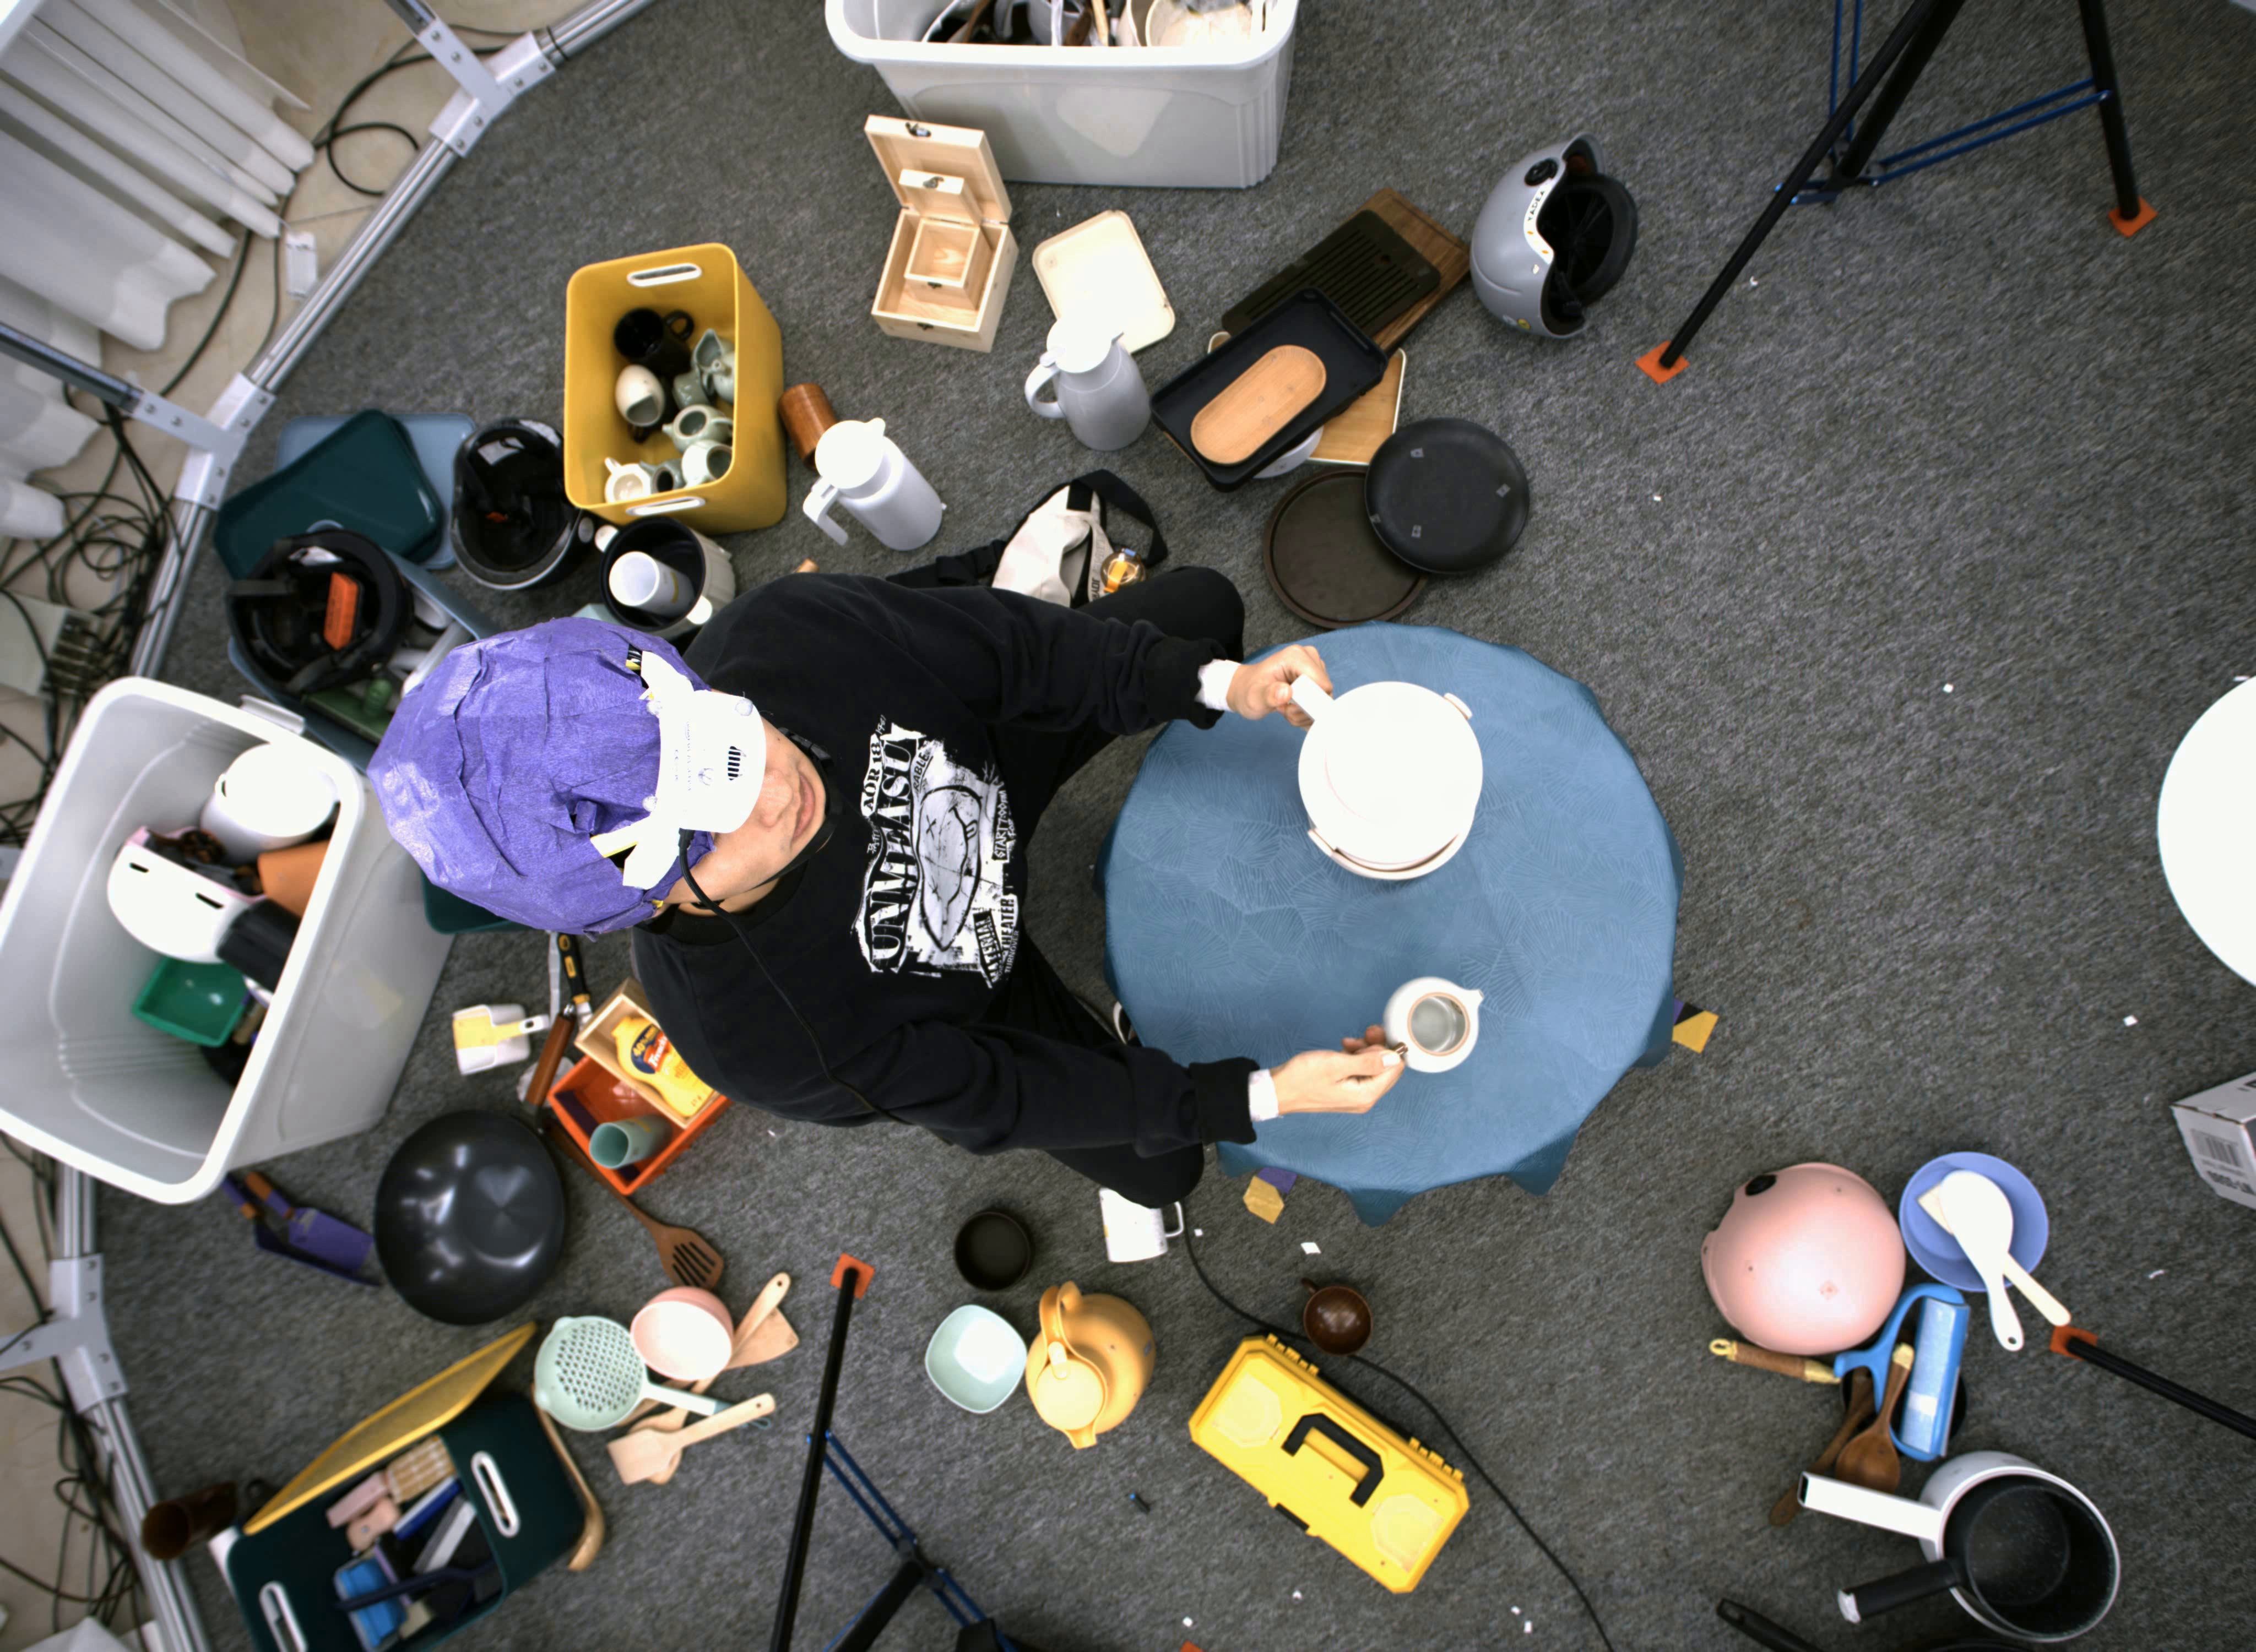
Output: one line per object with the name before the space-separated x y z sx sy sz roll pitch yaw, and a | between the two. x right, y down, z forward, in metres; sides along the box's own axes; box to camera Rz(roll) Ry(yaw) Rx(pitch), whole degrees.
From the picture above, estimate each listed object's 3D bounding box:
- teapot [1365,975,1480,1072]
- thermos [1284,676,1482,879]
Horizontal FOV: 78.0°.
teapot | 0.279 0.193 1.318 0.127 0.060 0.091 -37 88 -6
thermos | 0.229 -0.050 1.271 0.206 0.405 0.176 44 96 9
